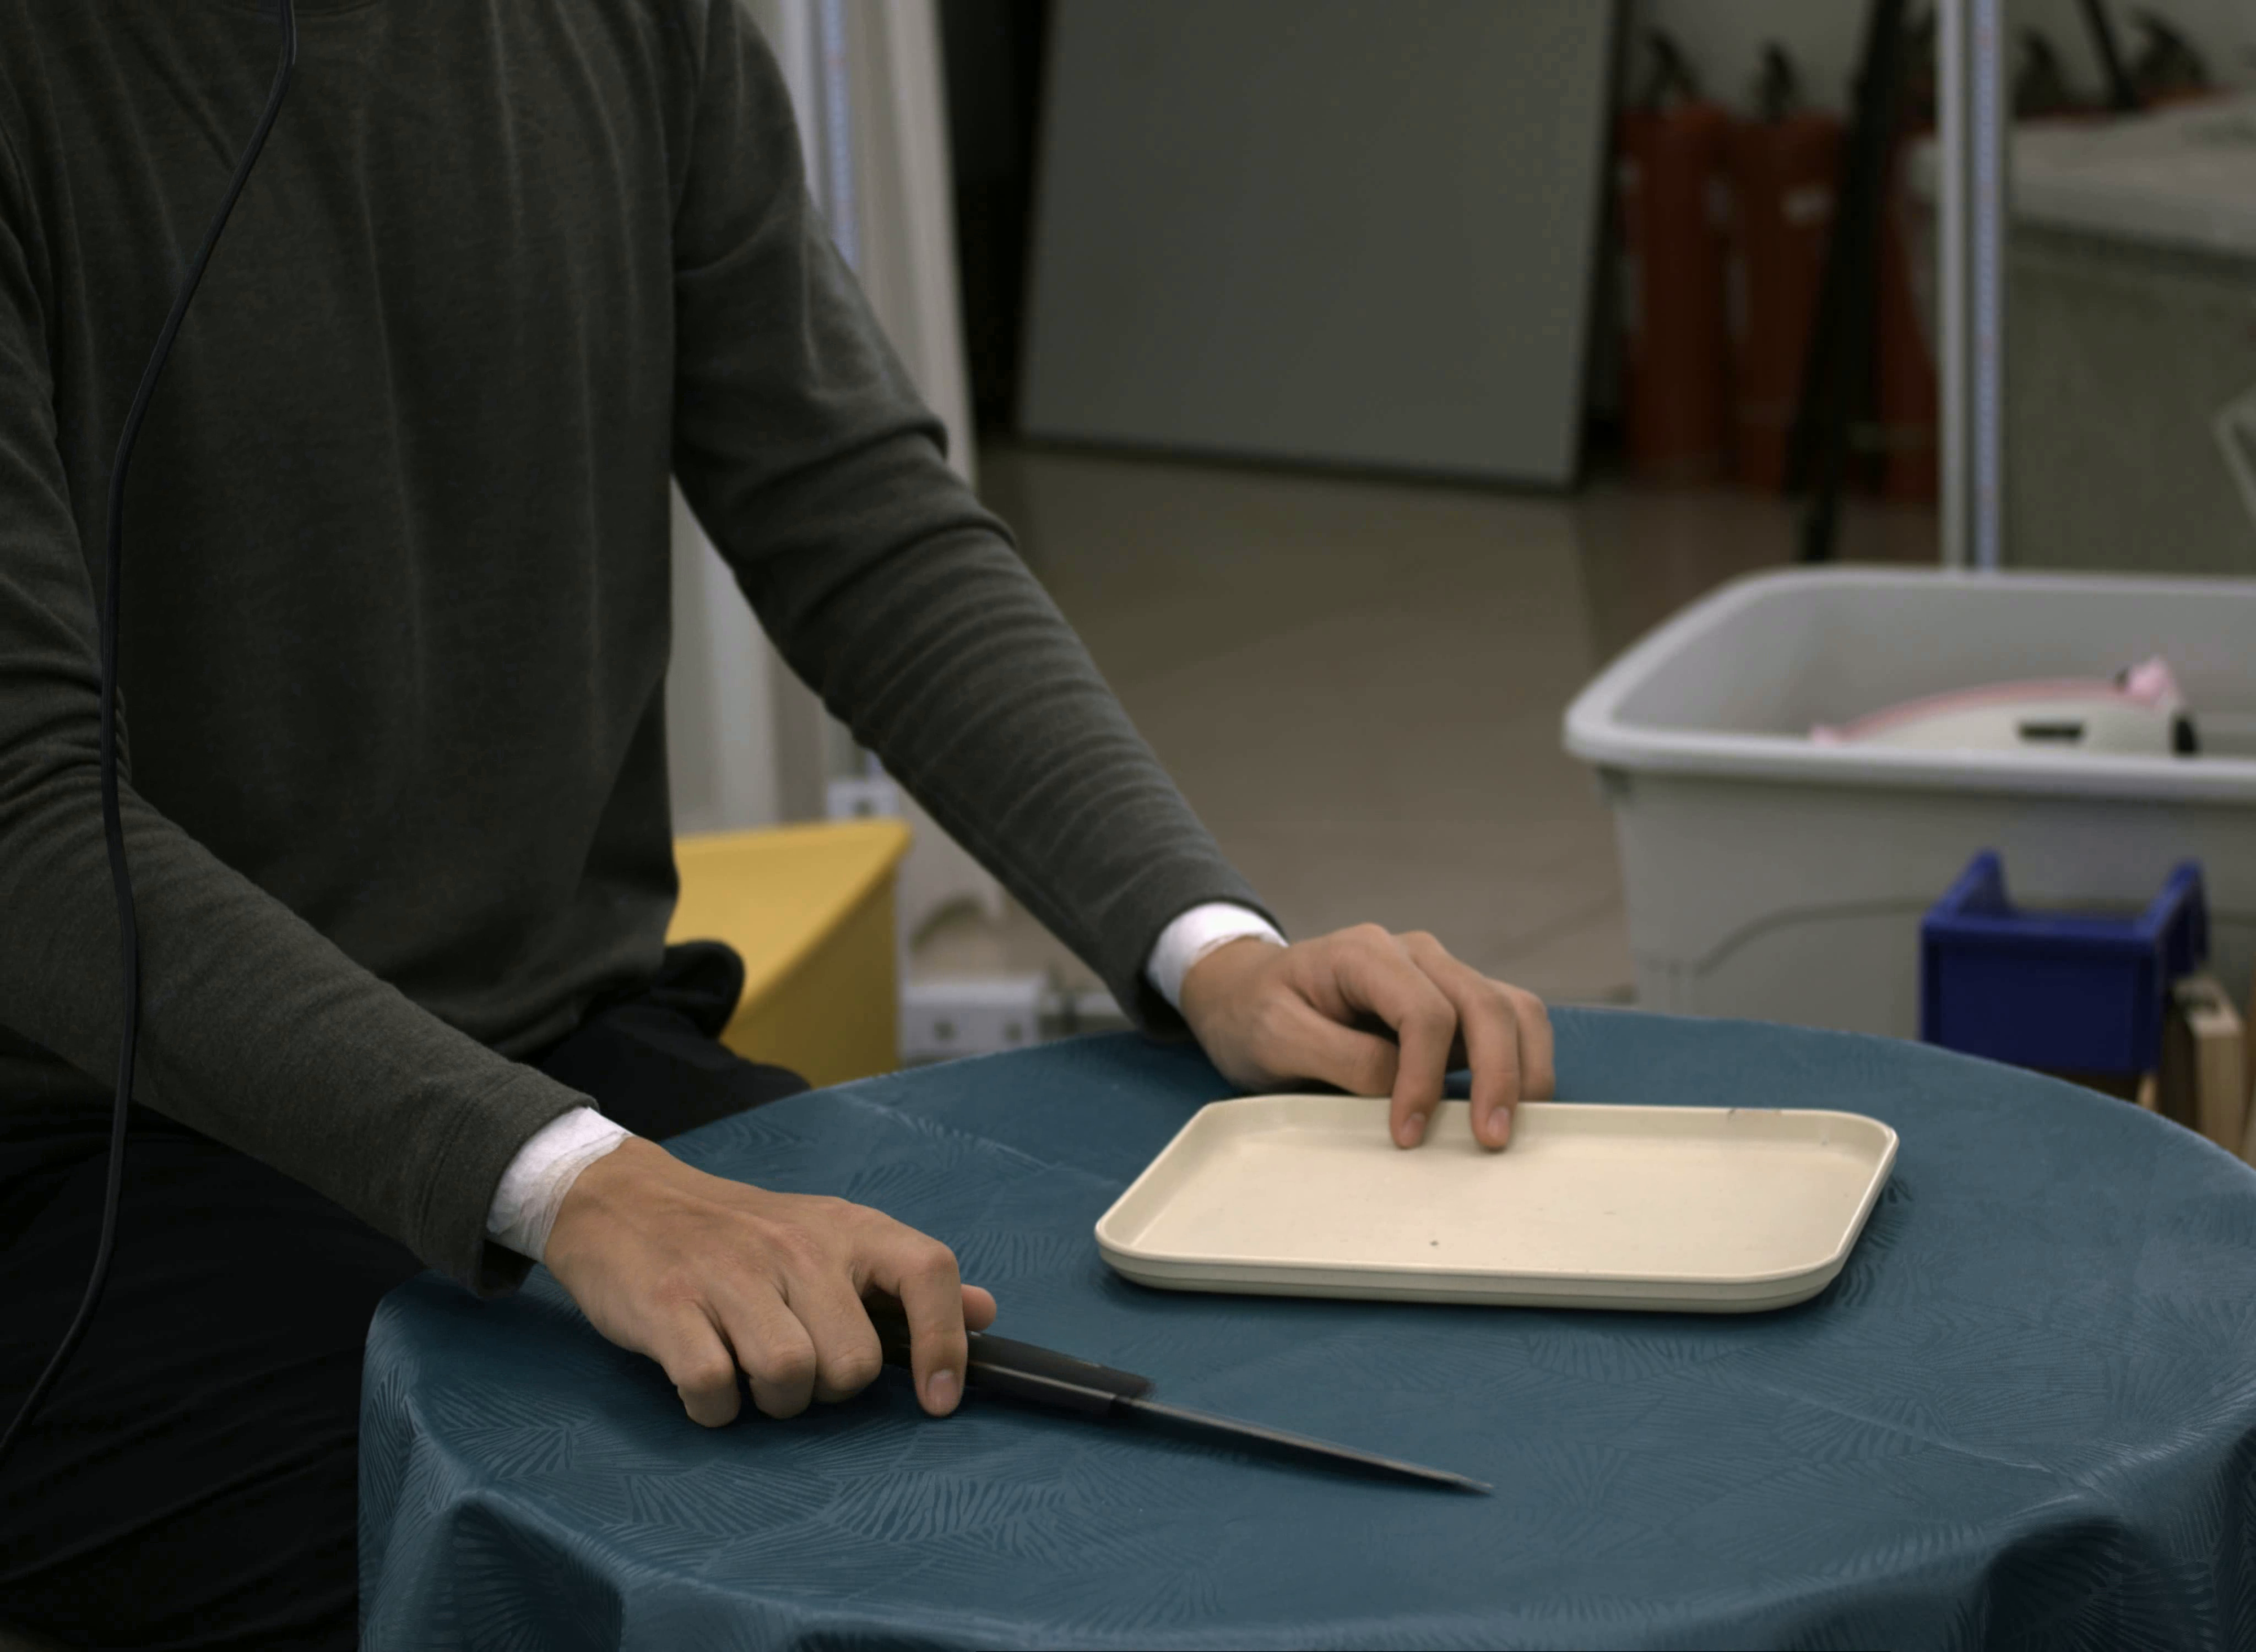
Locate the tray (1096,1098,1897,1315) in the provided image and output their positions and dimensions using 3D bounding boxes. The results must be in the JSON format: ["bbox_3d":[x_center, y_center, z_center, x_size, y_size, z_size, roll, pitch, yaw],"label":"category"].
[{"bbox_3d":[0.119,0.120,1.707,0.239,0.017,0.170,0,15,19],"label":"tray"}]

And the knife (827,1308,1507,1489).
[{"bbox_3d":[0.006,0.166,1.553,0.239,0.016,0.024,9,-1,35],"label":"knife"}]
